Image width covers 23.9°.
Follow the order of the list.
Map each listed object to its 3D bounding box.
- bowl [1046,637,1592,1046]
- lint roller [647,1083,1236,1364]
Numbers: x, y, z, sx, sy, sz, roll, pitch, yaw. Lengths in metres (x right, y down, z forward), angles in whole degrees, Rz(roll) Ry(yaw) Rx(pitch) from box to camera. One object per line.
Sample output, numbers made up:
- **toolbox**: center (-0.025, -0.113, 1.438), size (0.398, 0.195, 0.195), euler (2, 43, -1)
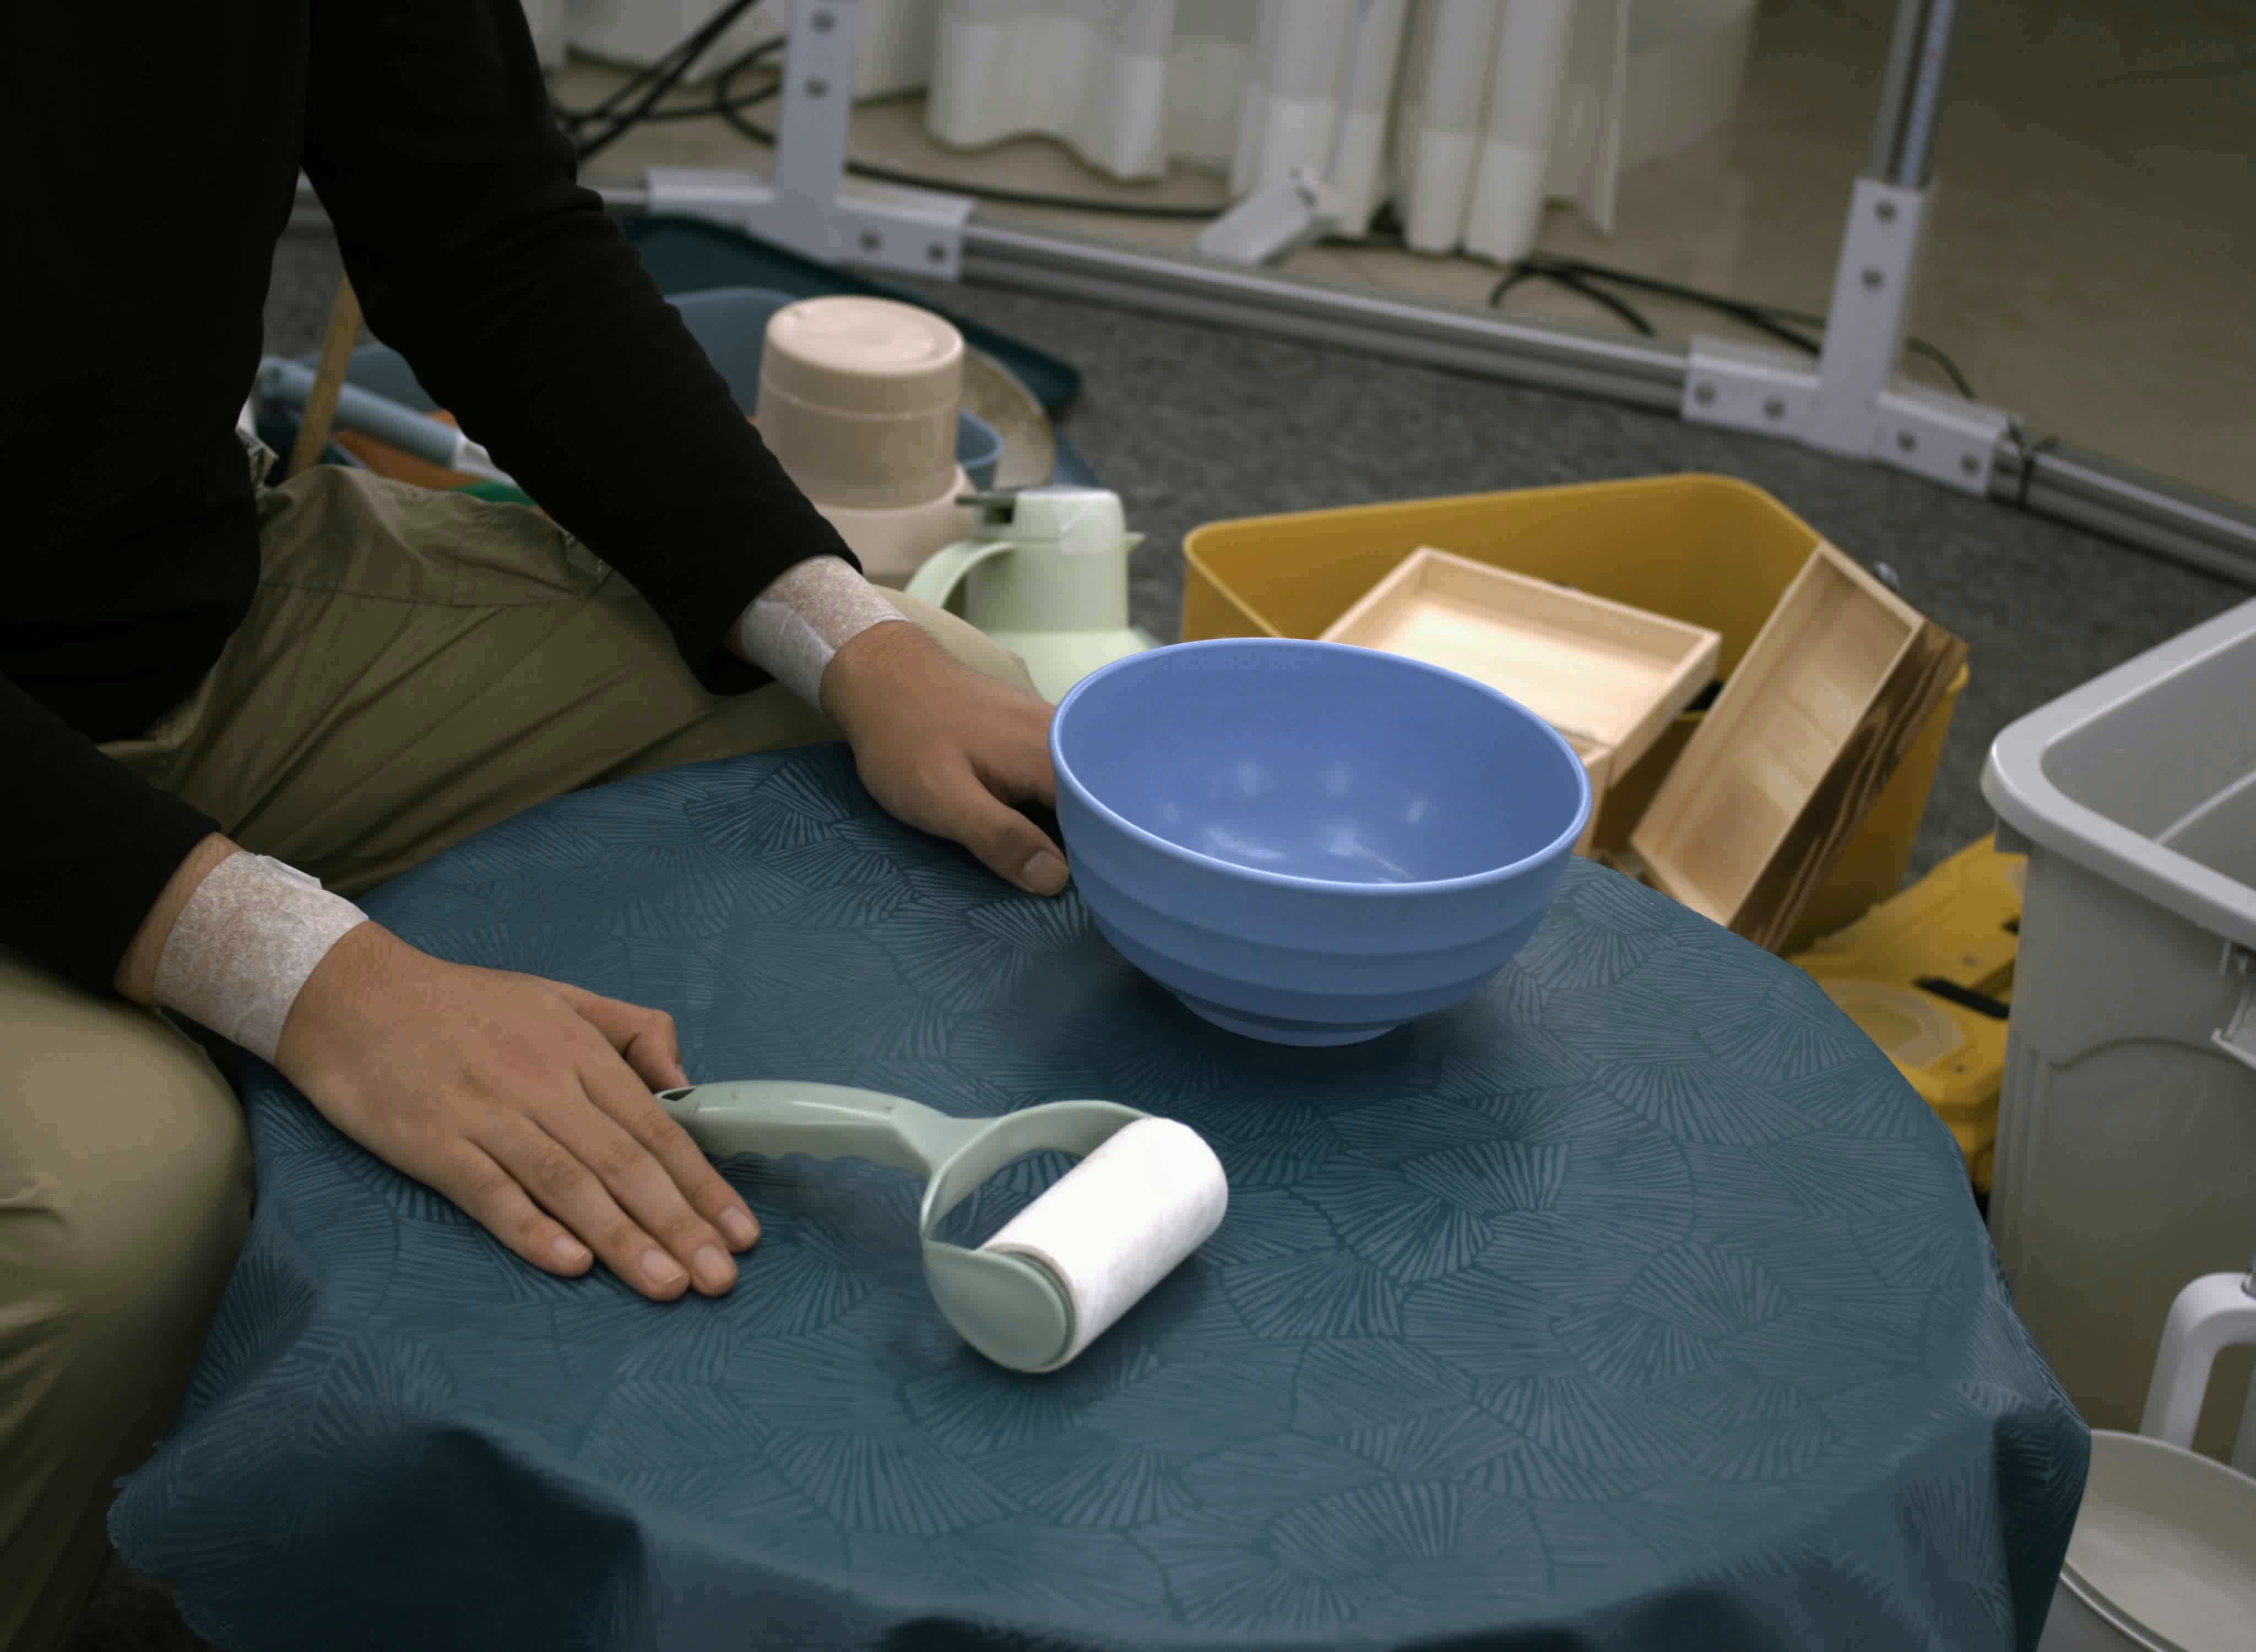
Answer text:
- **bowl**: center (0.064, 0.016, 1.922), size (0.196, 0.095, 0.198), euler (4, 28, -3)
- **lint roller**: center (-0.071, 0.112, 1.760), size (0.198, 0.048, 0.116), euler (18, 31, 24)
